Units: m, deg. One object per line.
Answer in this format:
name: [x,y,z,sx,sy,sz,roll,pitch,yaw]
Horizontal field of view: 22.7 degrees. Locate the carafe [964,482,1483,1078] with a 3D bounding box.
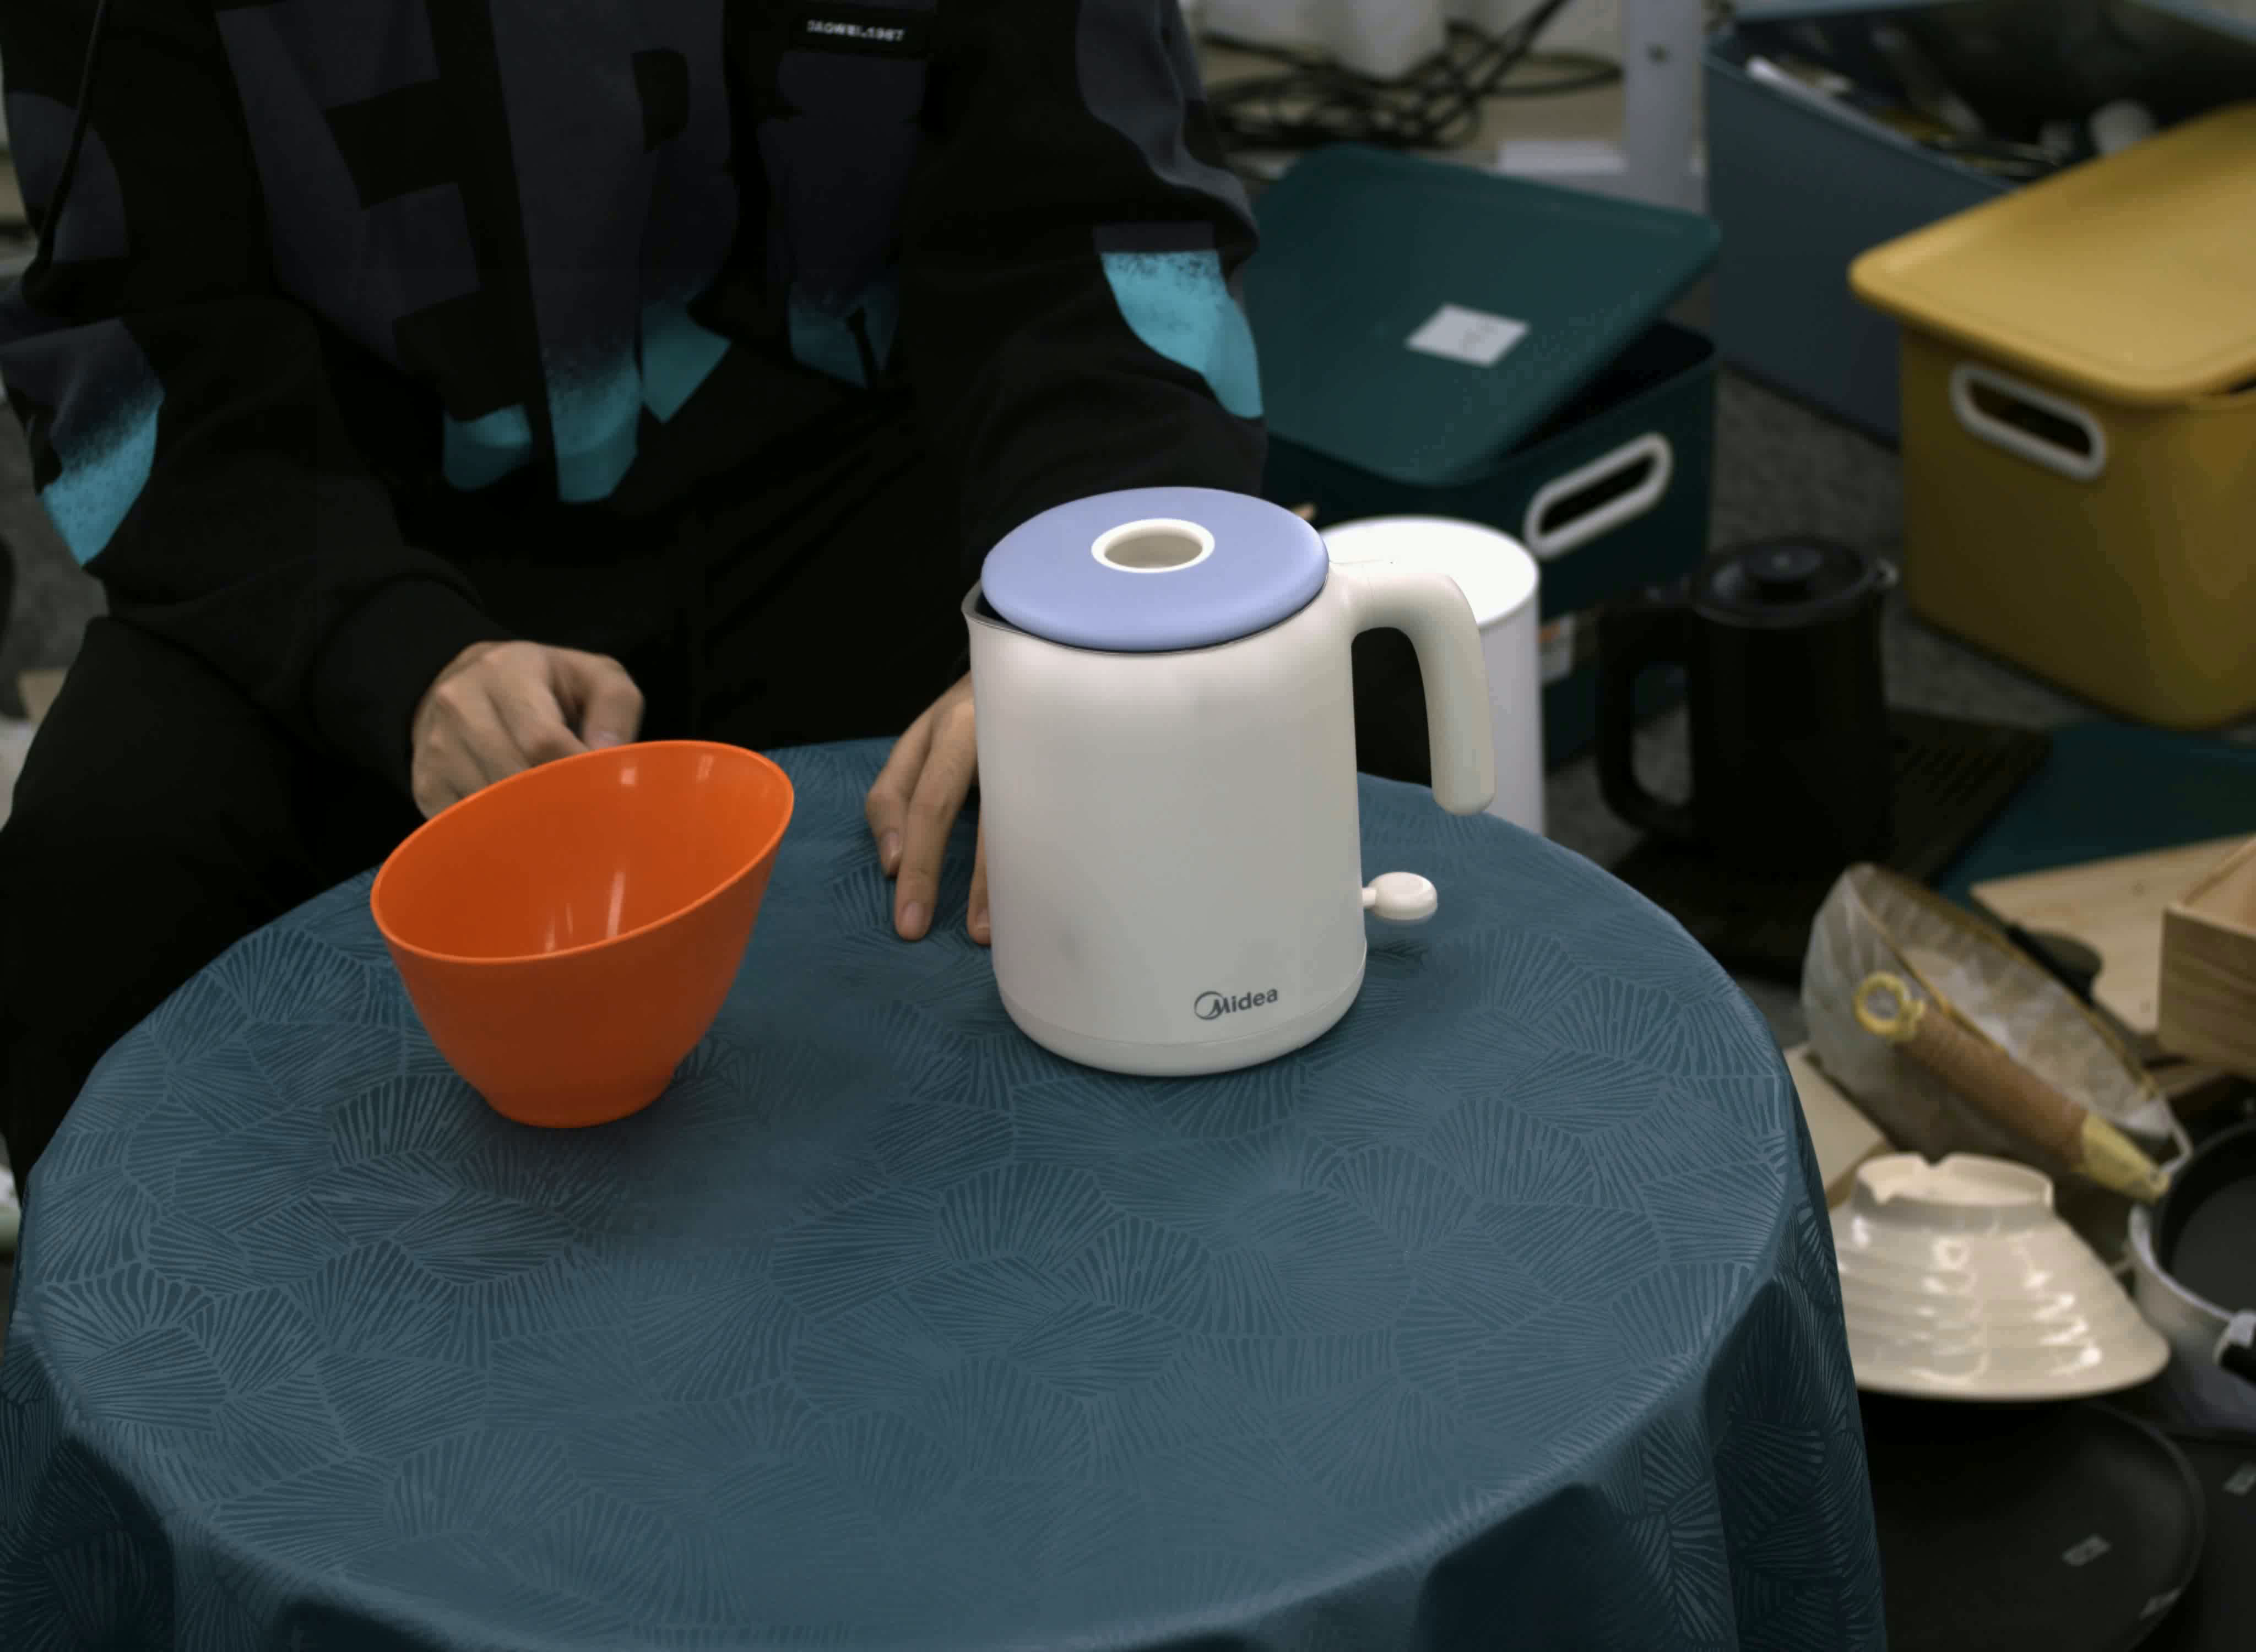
carafe: [0.036,-0.020,1.948,0.191,0.180,0.133,-10,28,-18]

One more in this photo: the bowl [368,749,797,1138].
bowl: [-0.183,0.046,1.917,0.147,0.103,0.150,-2,27,1]
